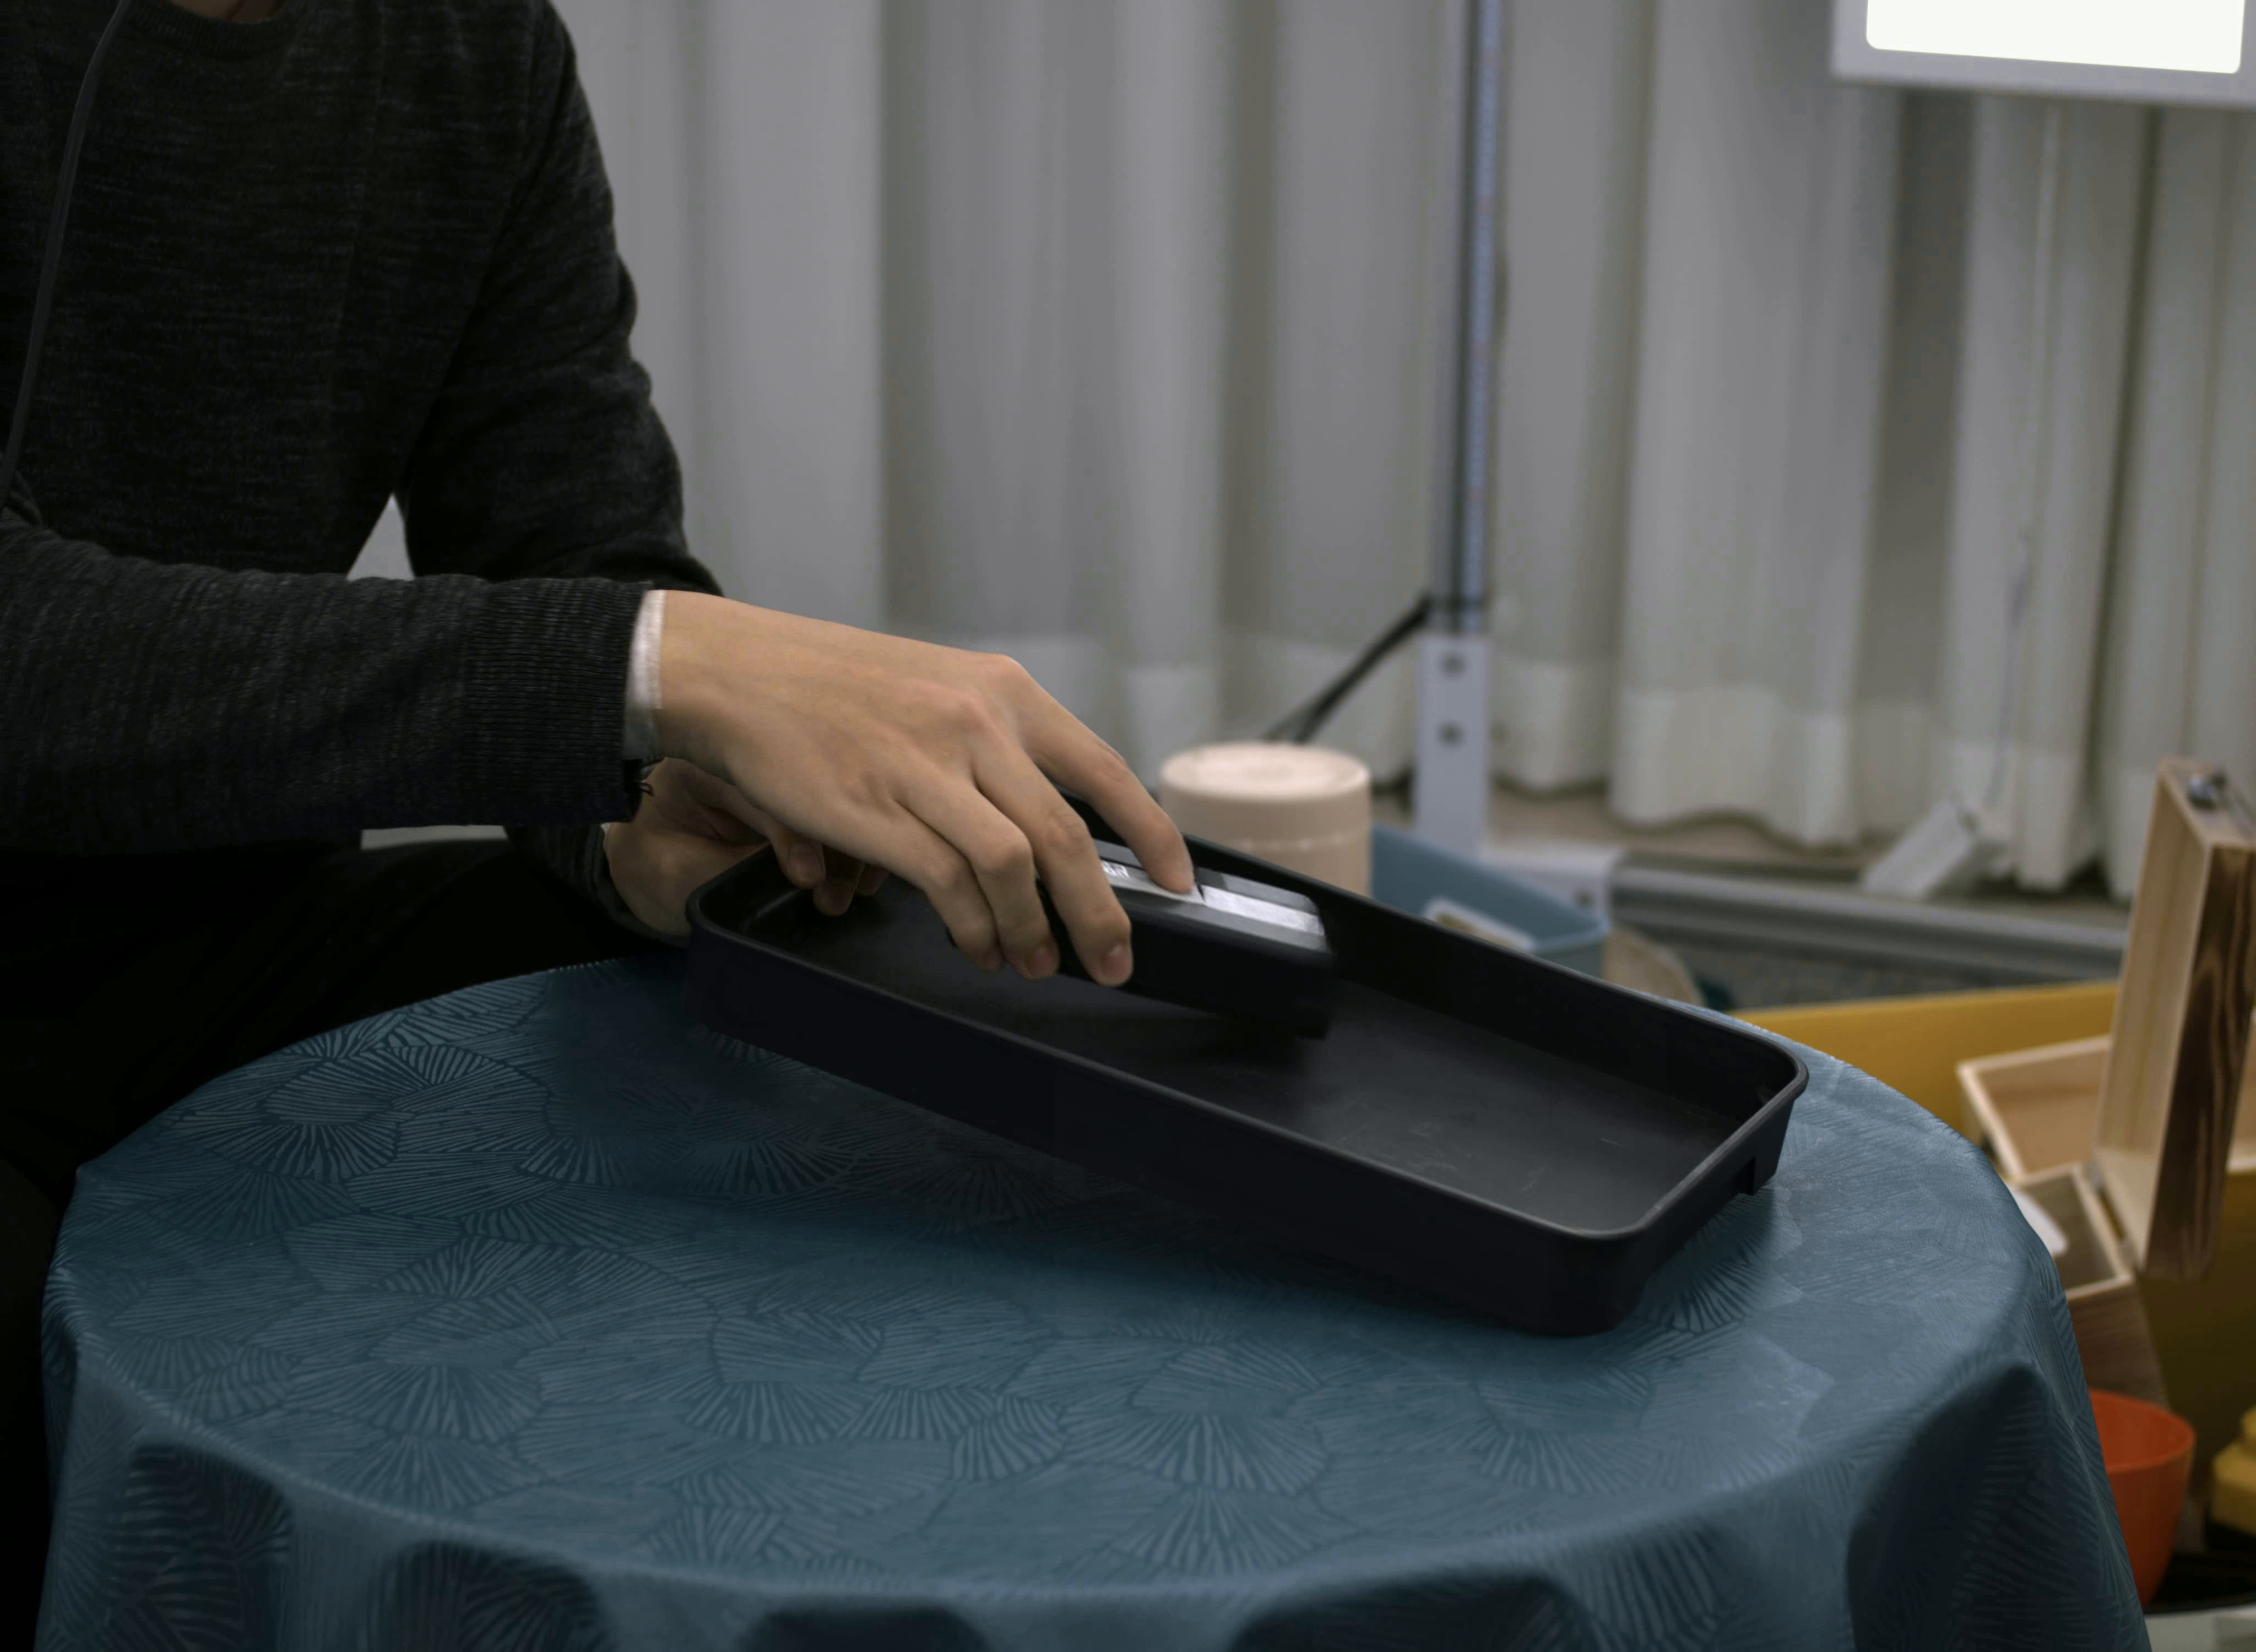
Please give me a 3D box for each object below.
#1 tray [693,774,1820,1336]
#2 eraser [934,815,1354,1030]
[{"bbox_3d":[0.039,0.065,1.615,0.315,0.037,0.184,18,23,19],"label":"tray"},{"bbox_3d":[0.004,0.030,1.626,0.126,0.030,0.053,13,19,-16],"label":"eraser"}]
